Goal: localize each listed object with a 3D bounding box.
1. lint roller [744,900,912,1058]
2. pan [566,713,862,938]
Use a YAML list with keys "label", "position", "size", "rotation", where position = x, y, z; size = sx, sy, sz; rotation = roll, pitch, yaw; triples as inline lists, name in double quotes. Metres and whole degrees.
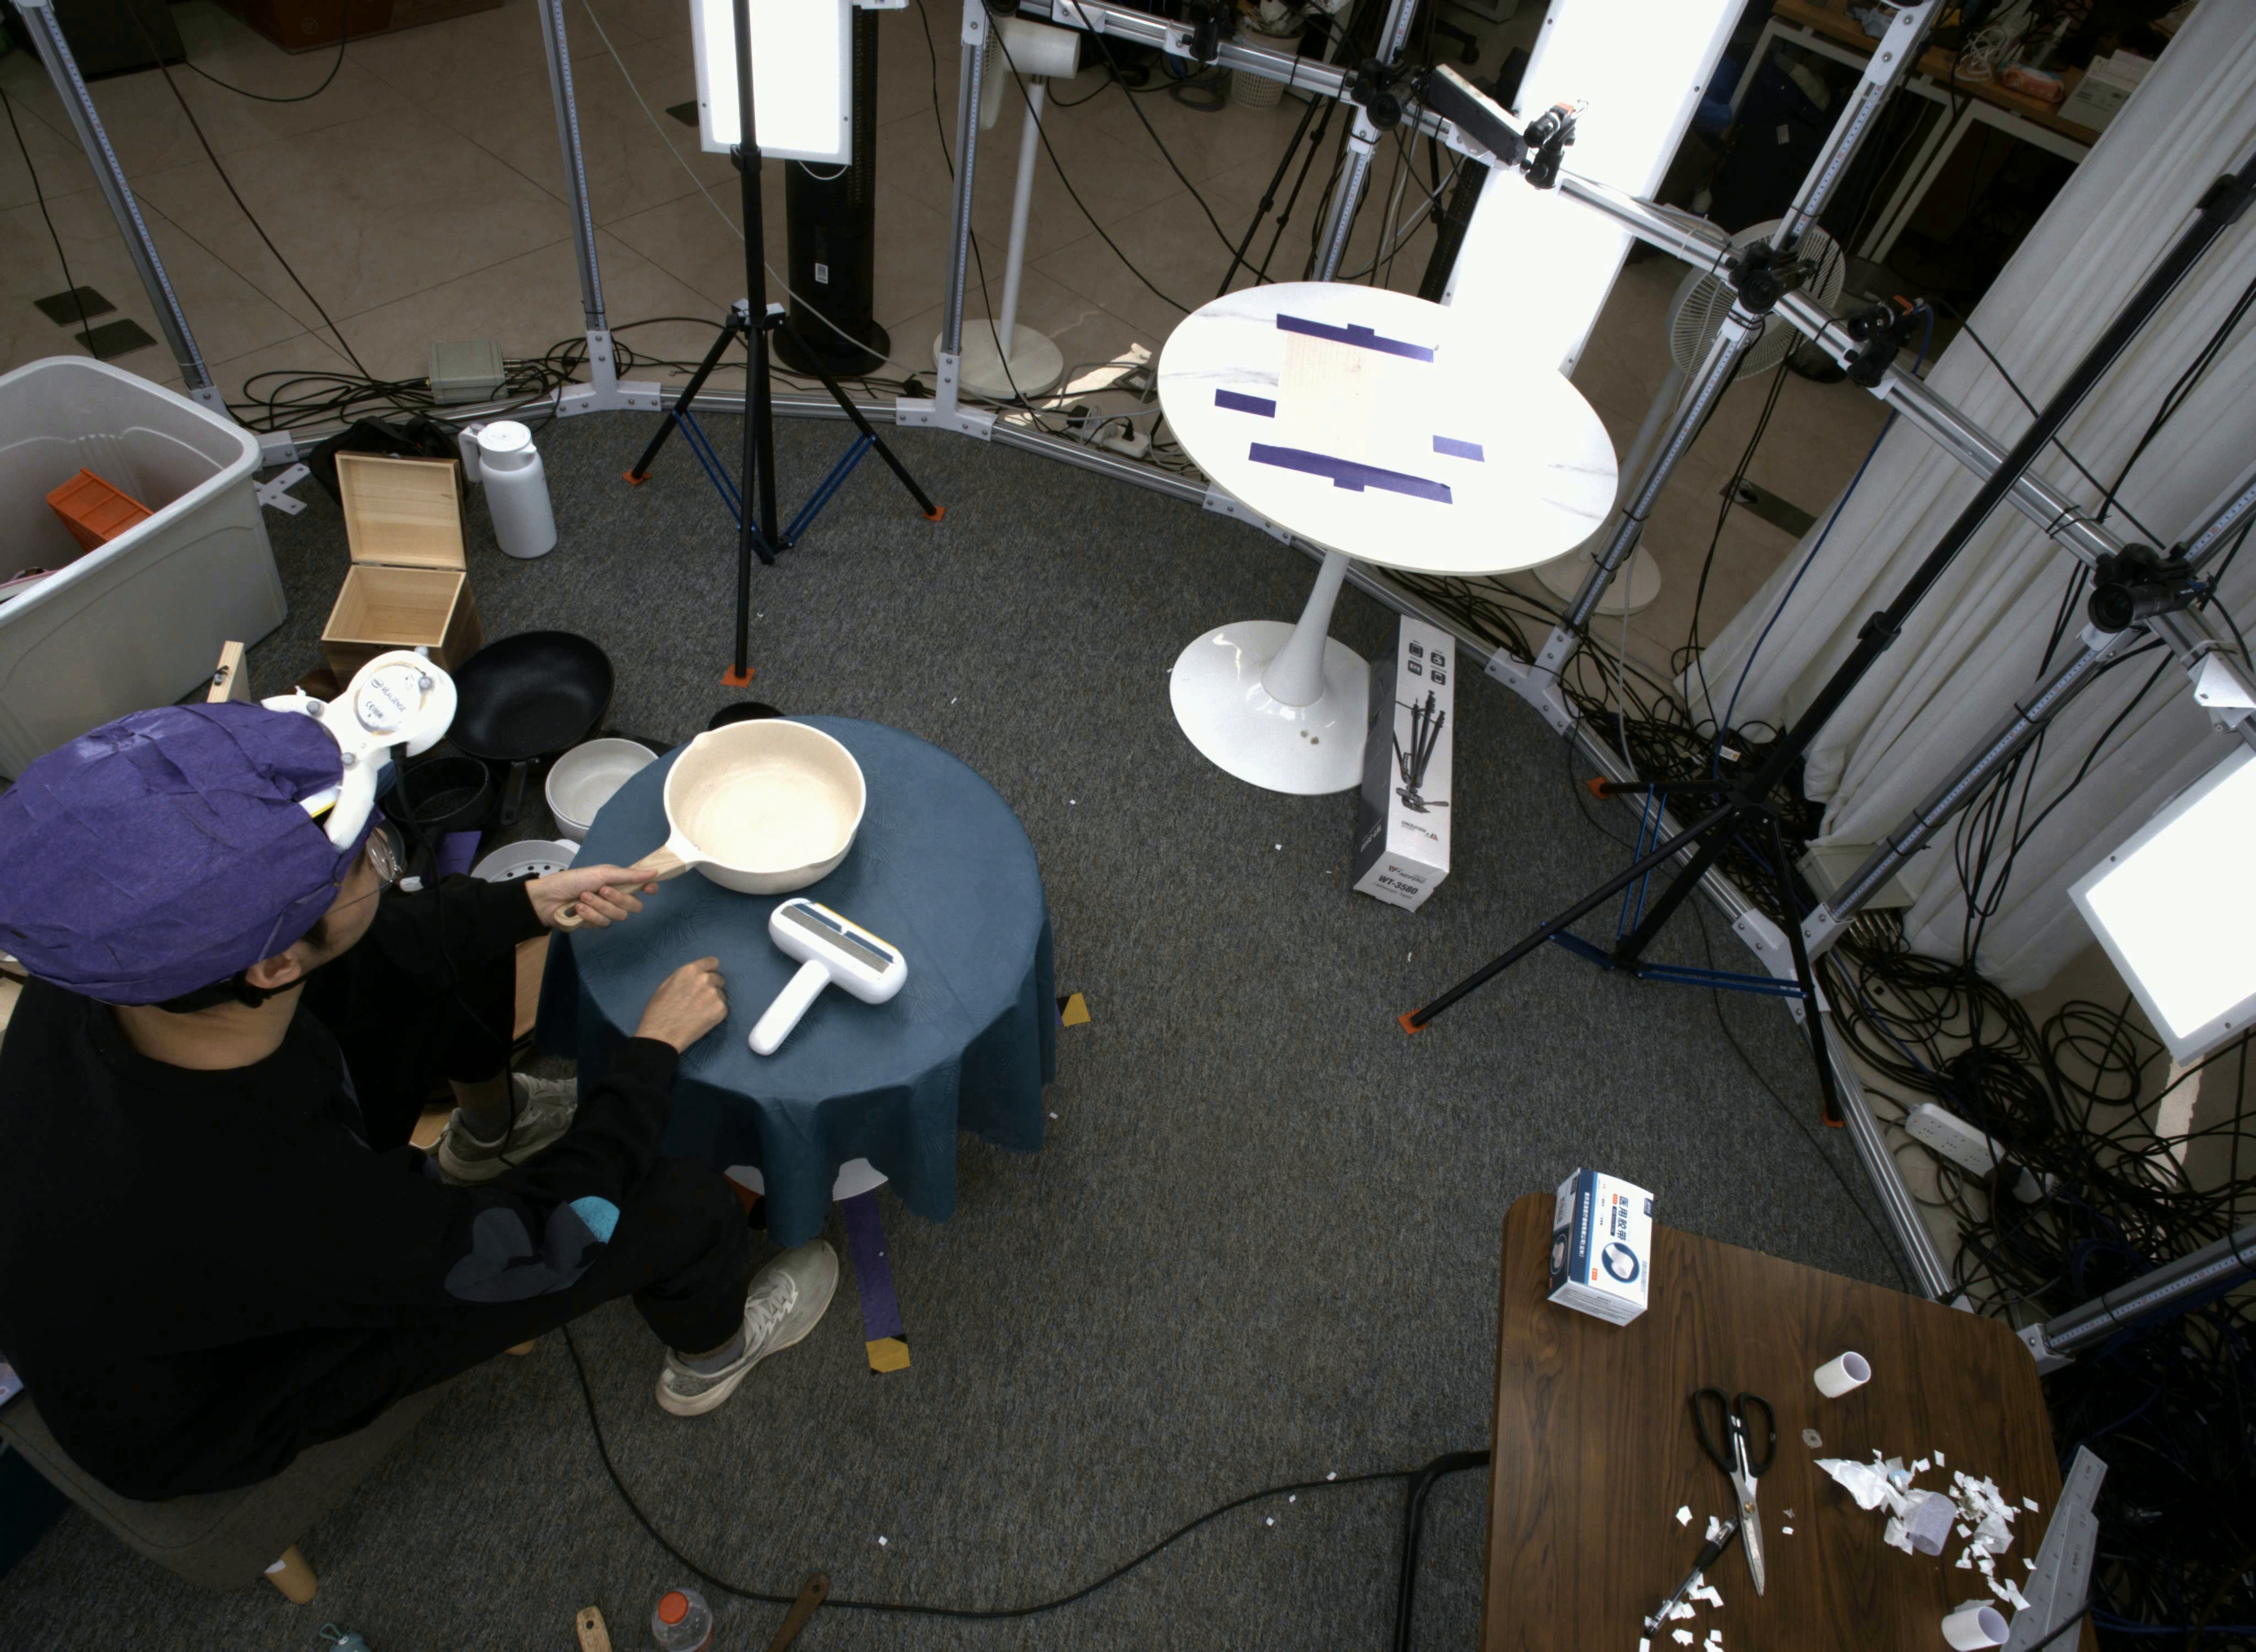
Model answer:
- label: "lint roller"
  position: [-0.383, 0.192, 1.555]
  size: [0.188, 0.076, 0.192]
  rotation: [33, 54, 18]
- label: "pan"
  position: [-0.528, 0.022, 1.621]
  size: [0.259, 0.103, 0.435]
  rotation: [39, 54, 12]
